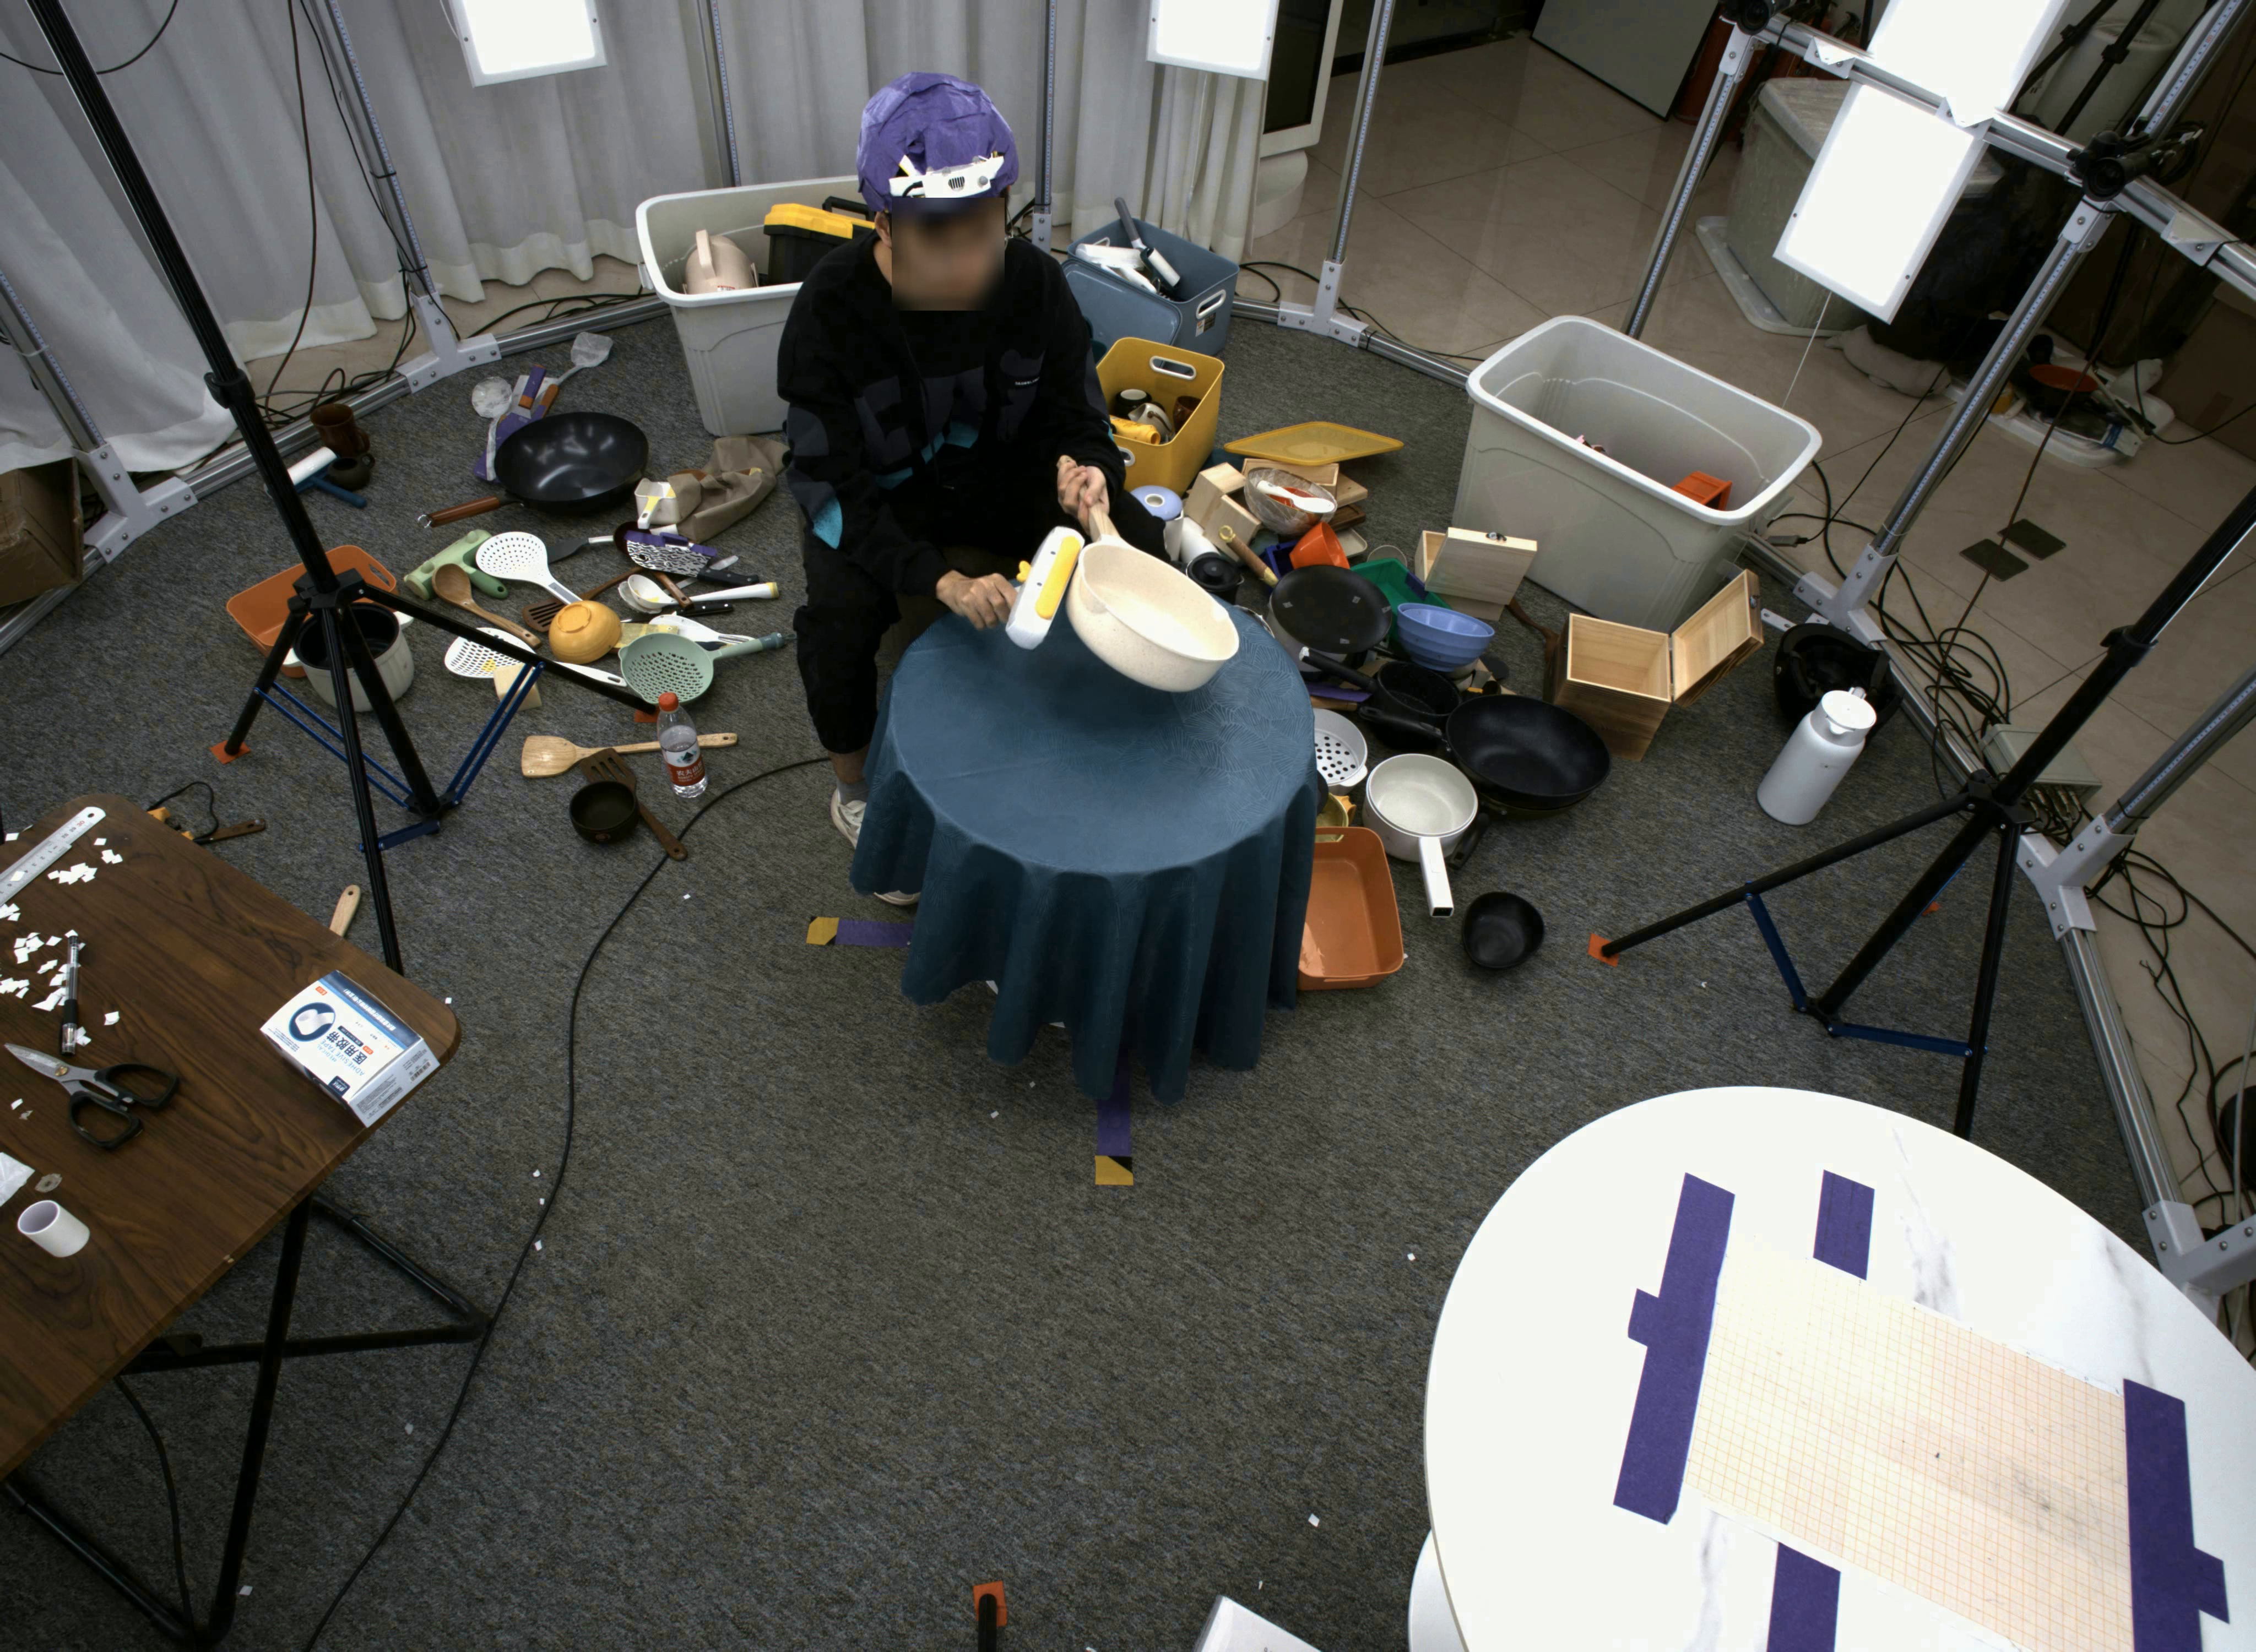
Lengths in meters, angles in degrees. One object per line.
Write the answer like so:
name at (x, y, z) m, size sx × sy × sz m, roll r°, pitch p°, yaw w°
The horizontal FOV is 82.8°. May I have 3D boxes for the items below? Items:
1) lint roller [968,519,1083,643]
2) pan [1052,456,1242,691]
lint roller at (-0.150, -0.320, 1.788) m, size 0.073 × 0.191 × 0.197 m, roll 29°, pitch 56°, yaw -26°
pan at (-0.014, -0.353, 1.814) m, size 0.262 × 0.100 × 0.444 m, roll -2°, pitch 46°, yaw -41°
